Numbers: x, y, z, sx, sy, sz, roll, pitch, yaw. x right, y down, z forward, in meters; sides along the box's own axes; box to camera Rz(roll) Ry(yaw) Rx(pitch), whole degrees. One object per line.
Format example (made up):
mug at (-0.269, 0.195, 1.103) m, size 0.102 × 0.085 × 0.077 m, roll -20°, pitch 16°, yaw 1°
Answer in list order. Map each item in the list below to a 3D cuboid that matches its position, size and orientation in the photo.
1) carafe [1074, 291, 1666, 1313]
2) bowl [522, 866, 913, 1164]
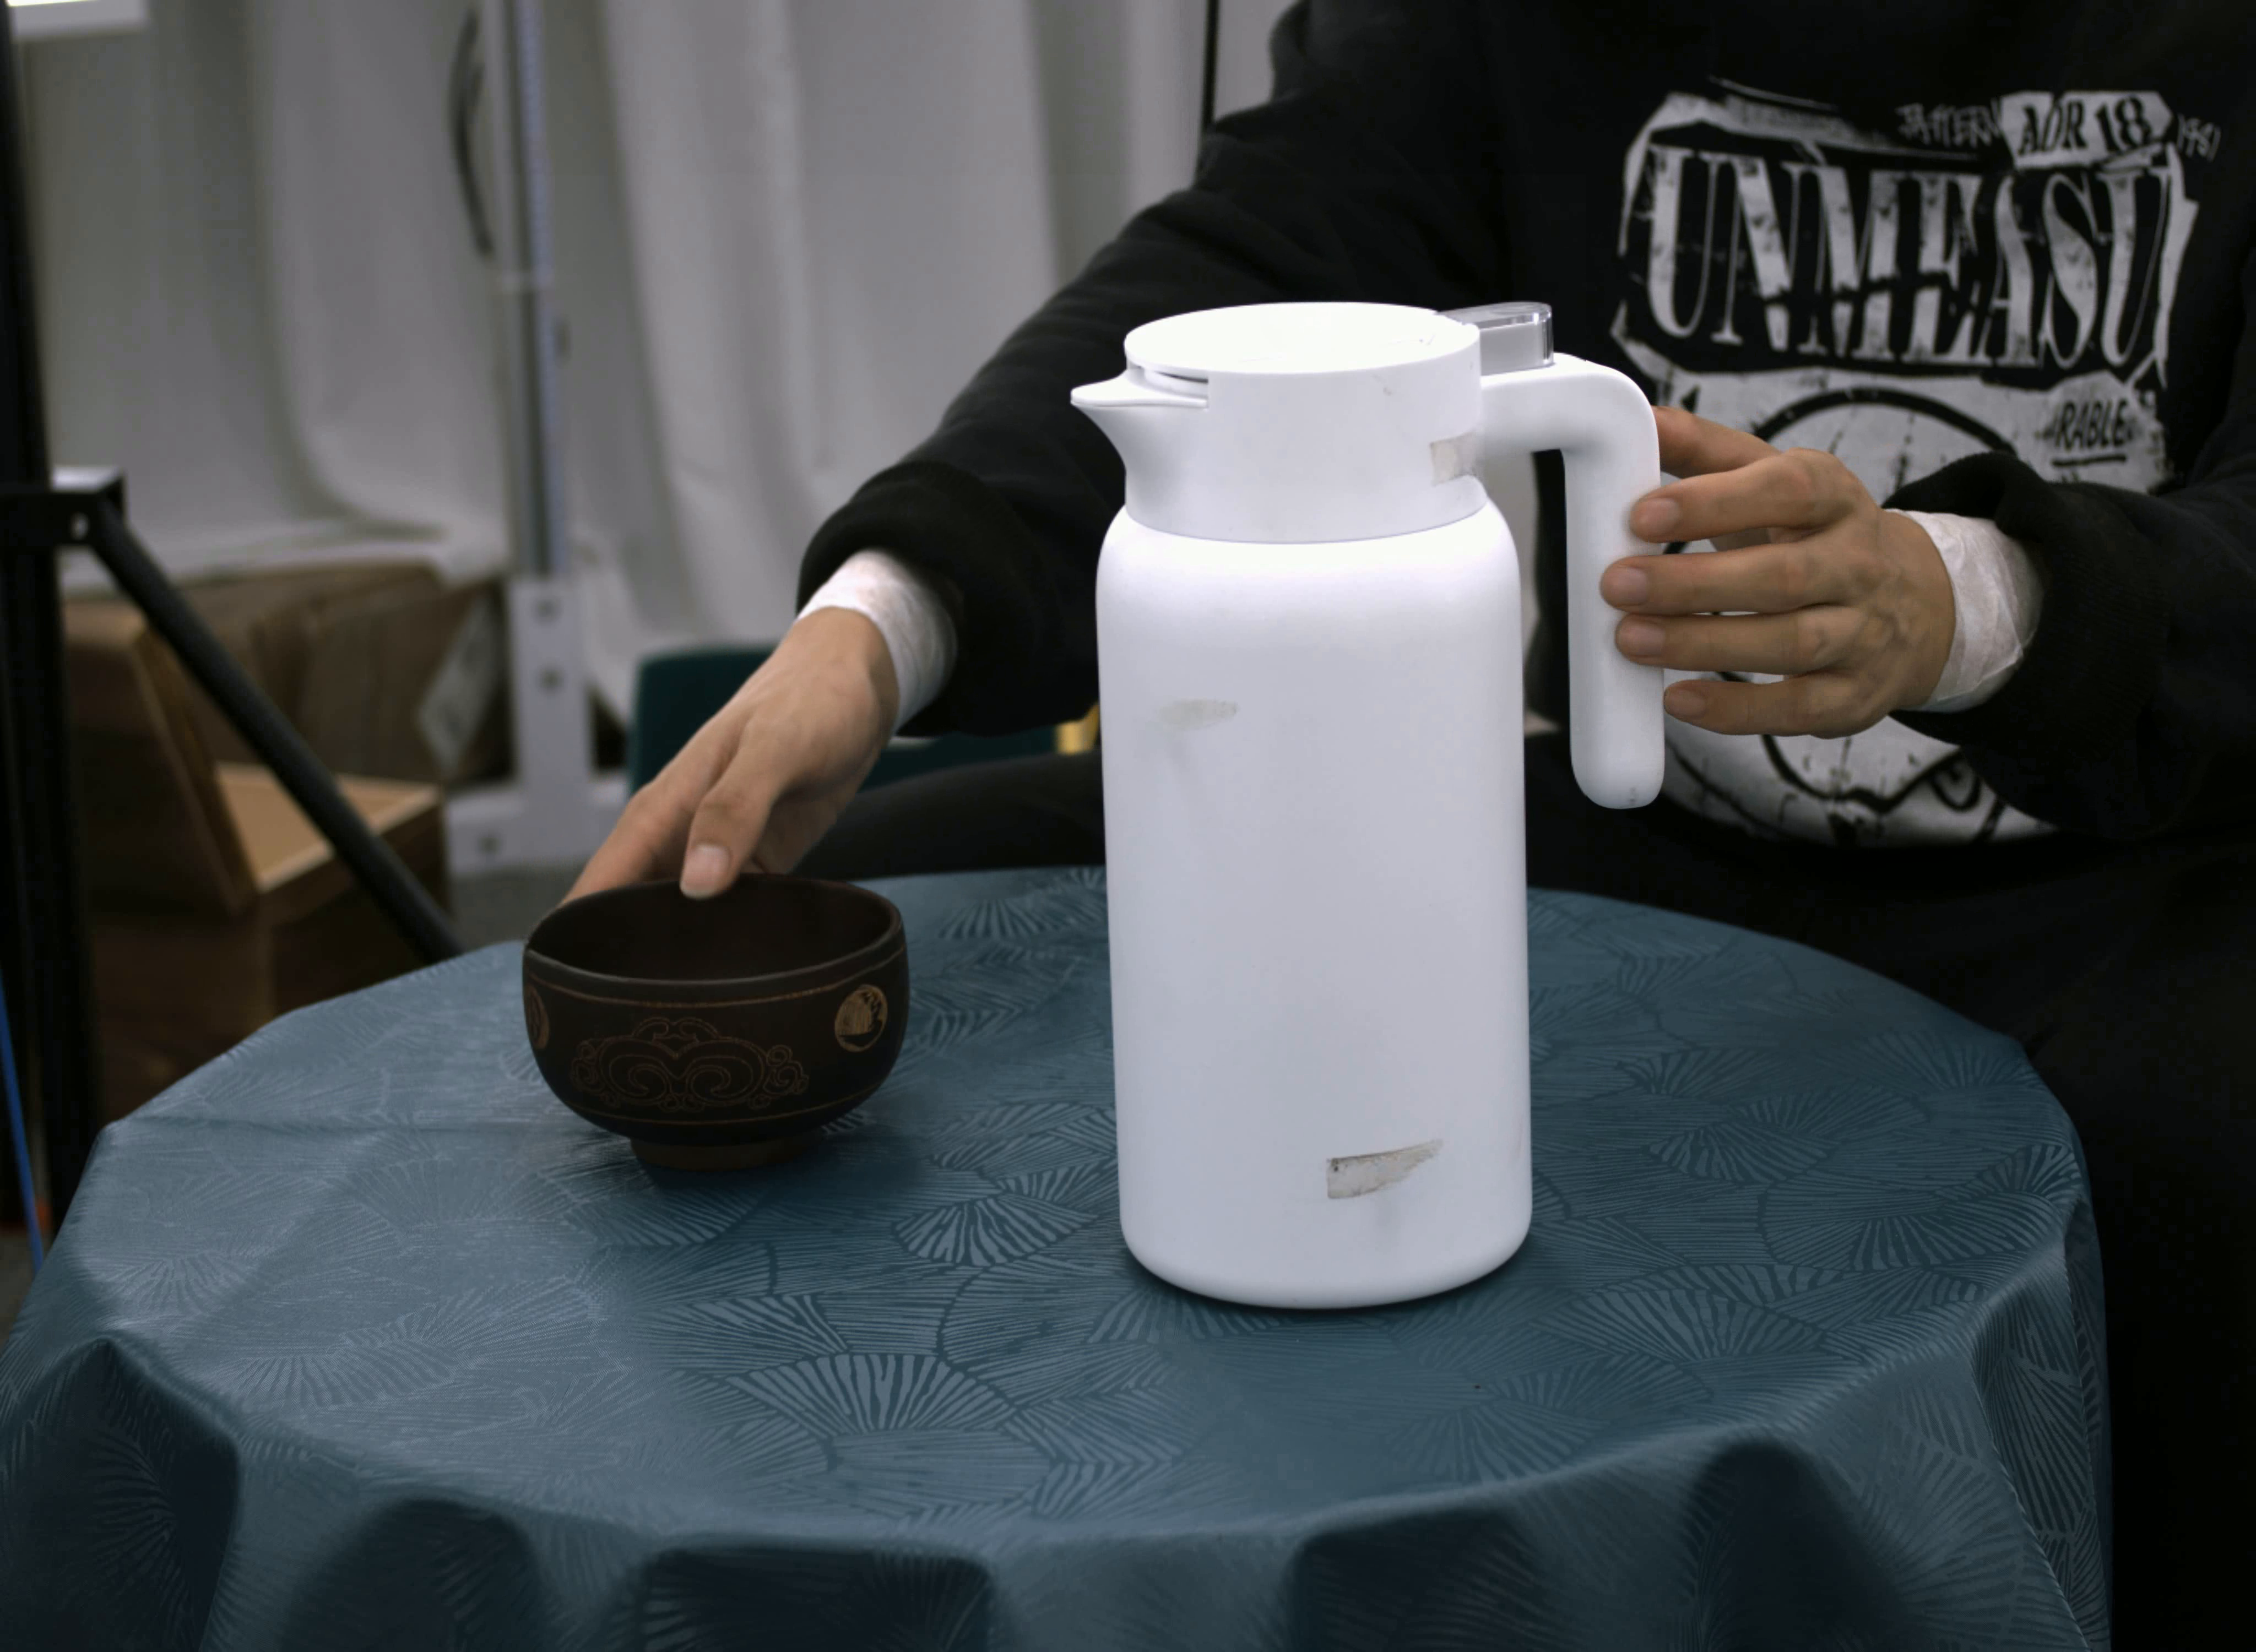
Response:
carafe at (0.068, -0.010, 1.473) m, size 0.169 × 0.269 × 0.126 m, roll -9°, pitch 14°, yaw -23°
bowl at (-0.123, 0.061, 1.608) m, size 0.117 × 0.070 × 0.118 m, roll -3°, pitch 15°, yaw -1°
